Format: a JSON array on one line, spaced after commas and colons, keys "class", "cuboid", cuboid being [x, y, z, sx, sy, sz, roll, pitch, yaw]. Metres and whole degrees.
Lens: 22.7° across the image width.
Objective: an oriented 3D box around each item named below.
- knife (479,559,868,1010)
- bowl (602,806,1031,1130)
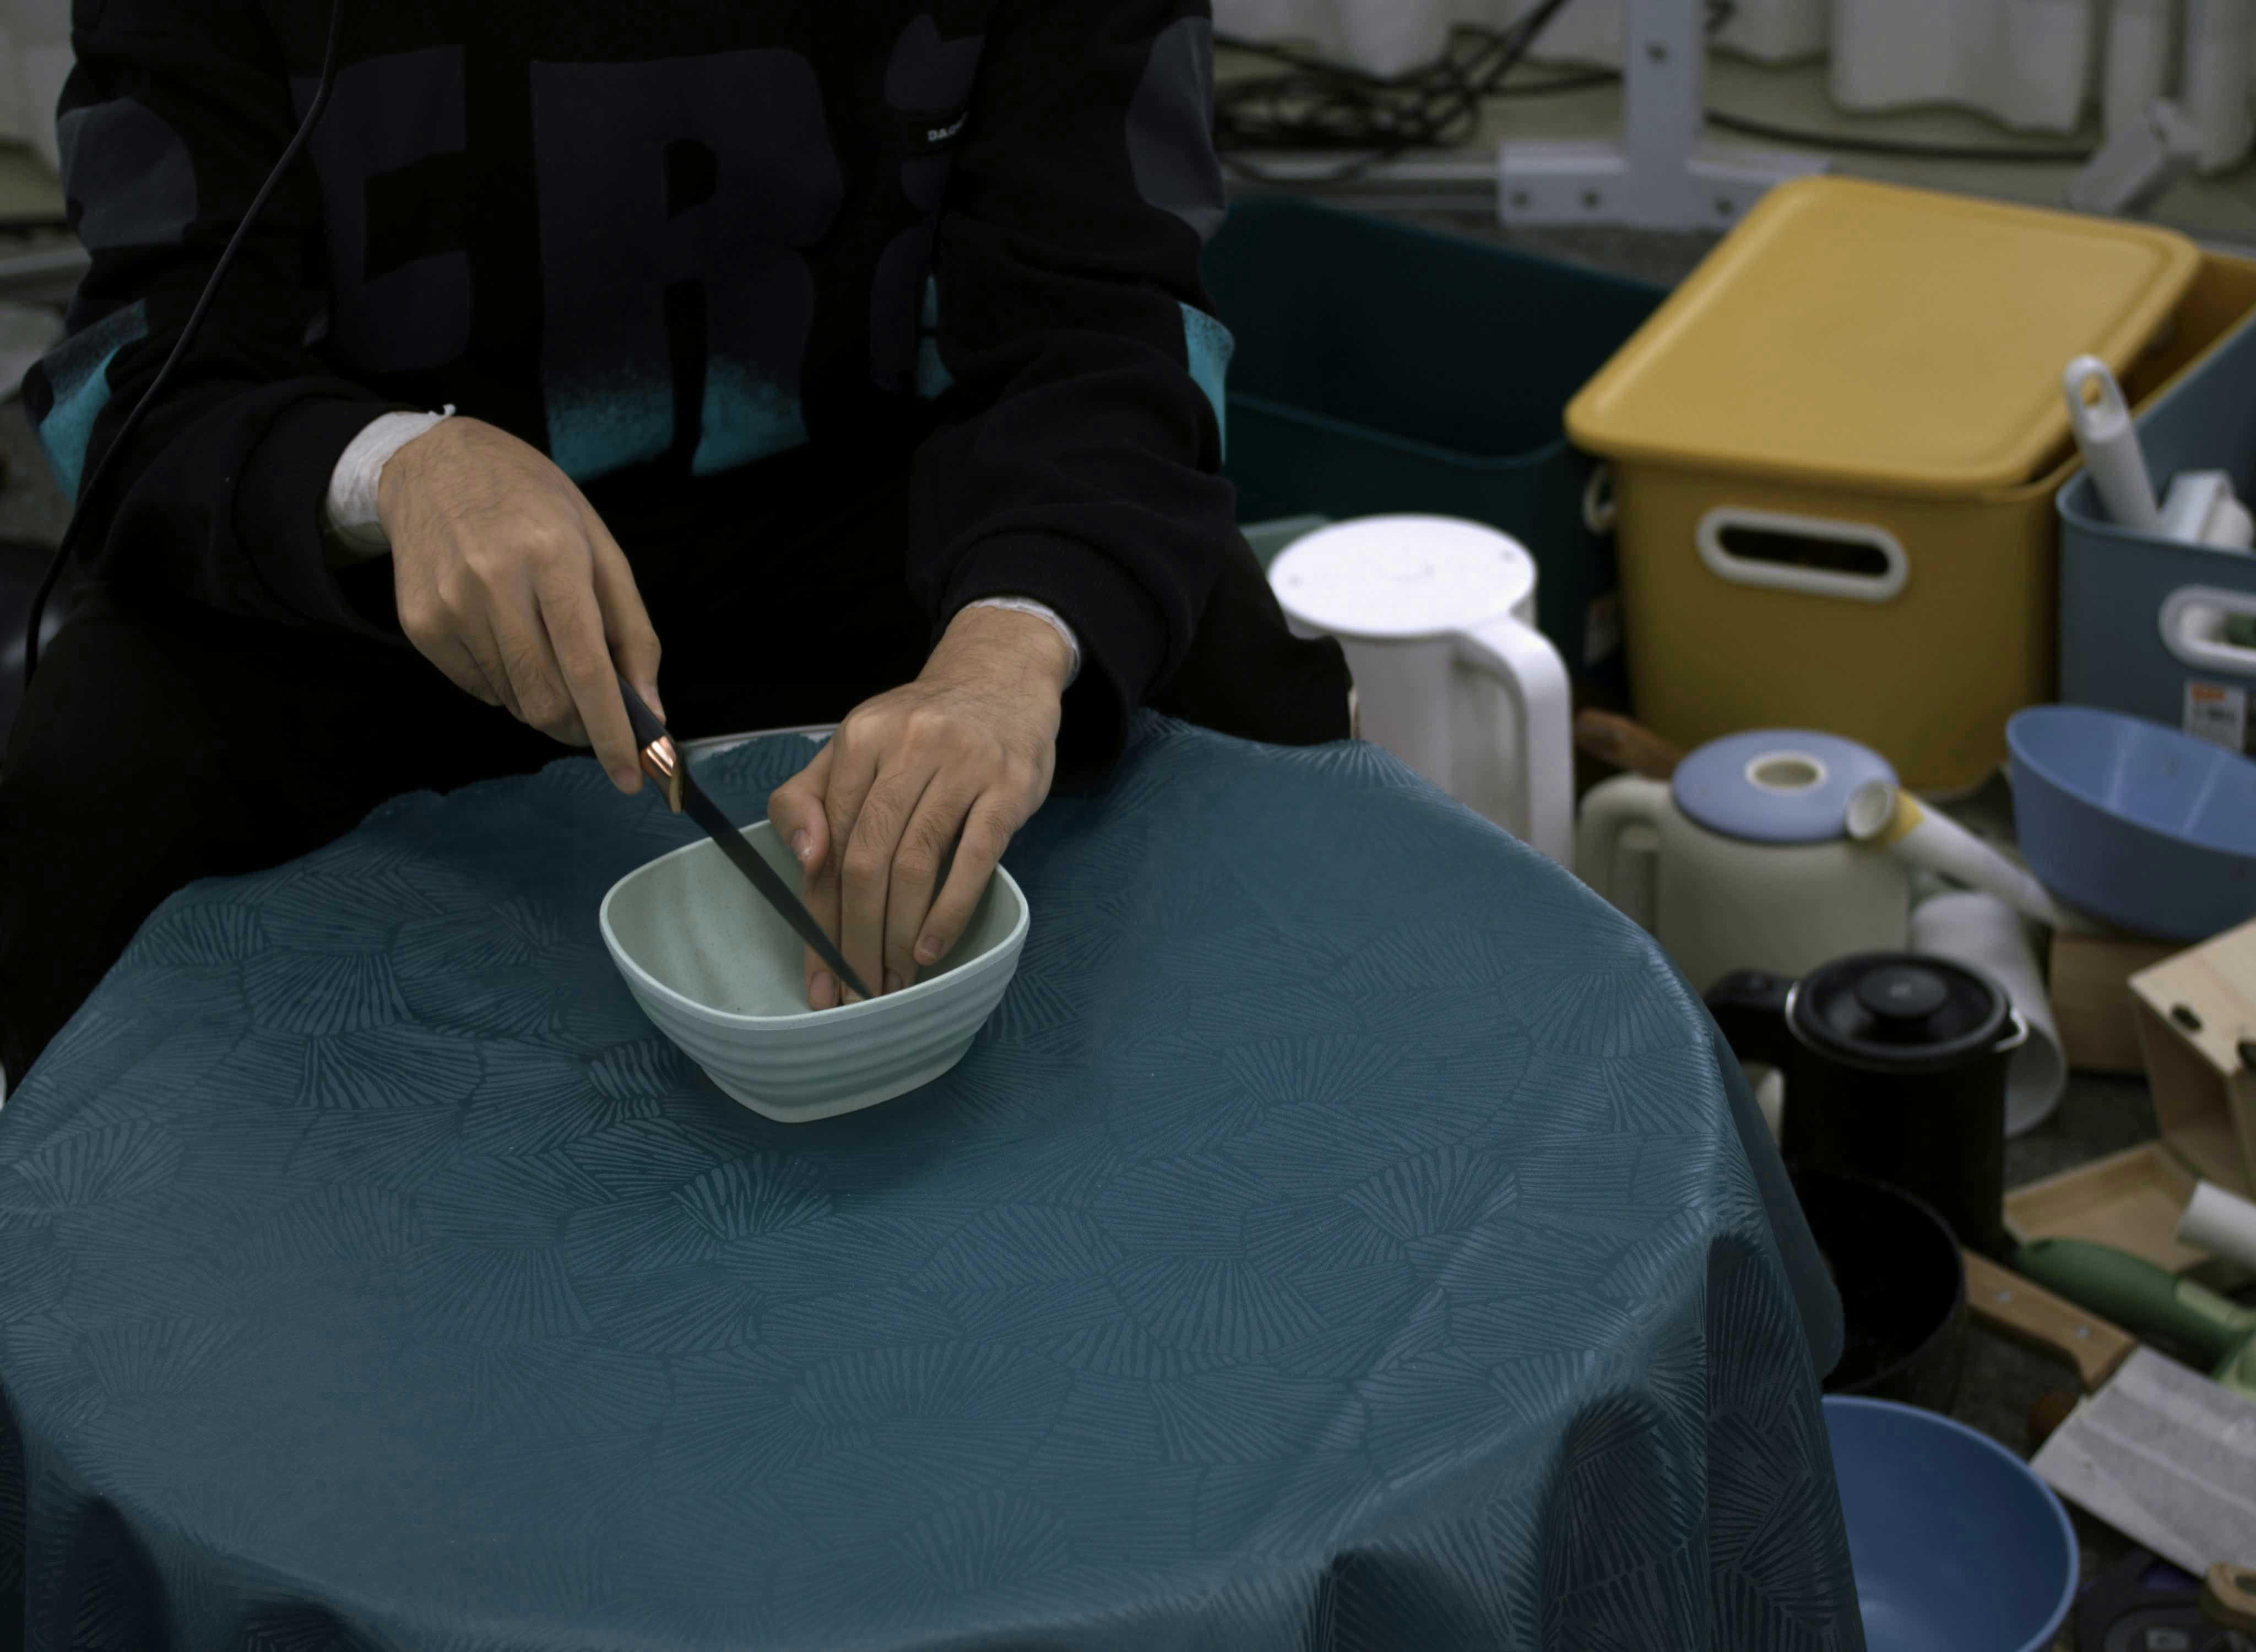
[{"class": "knife", "cuboid": [-0.153, -0.011, 1.951, 0.017, 0.026, 0.227, -29, 66, -33]}, {"class": "bowl", "cuboid": [-0.105, 0.055, 1.942, 0.150, 0.058, 0.154, -3, 28, 2]}]
